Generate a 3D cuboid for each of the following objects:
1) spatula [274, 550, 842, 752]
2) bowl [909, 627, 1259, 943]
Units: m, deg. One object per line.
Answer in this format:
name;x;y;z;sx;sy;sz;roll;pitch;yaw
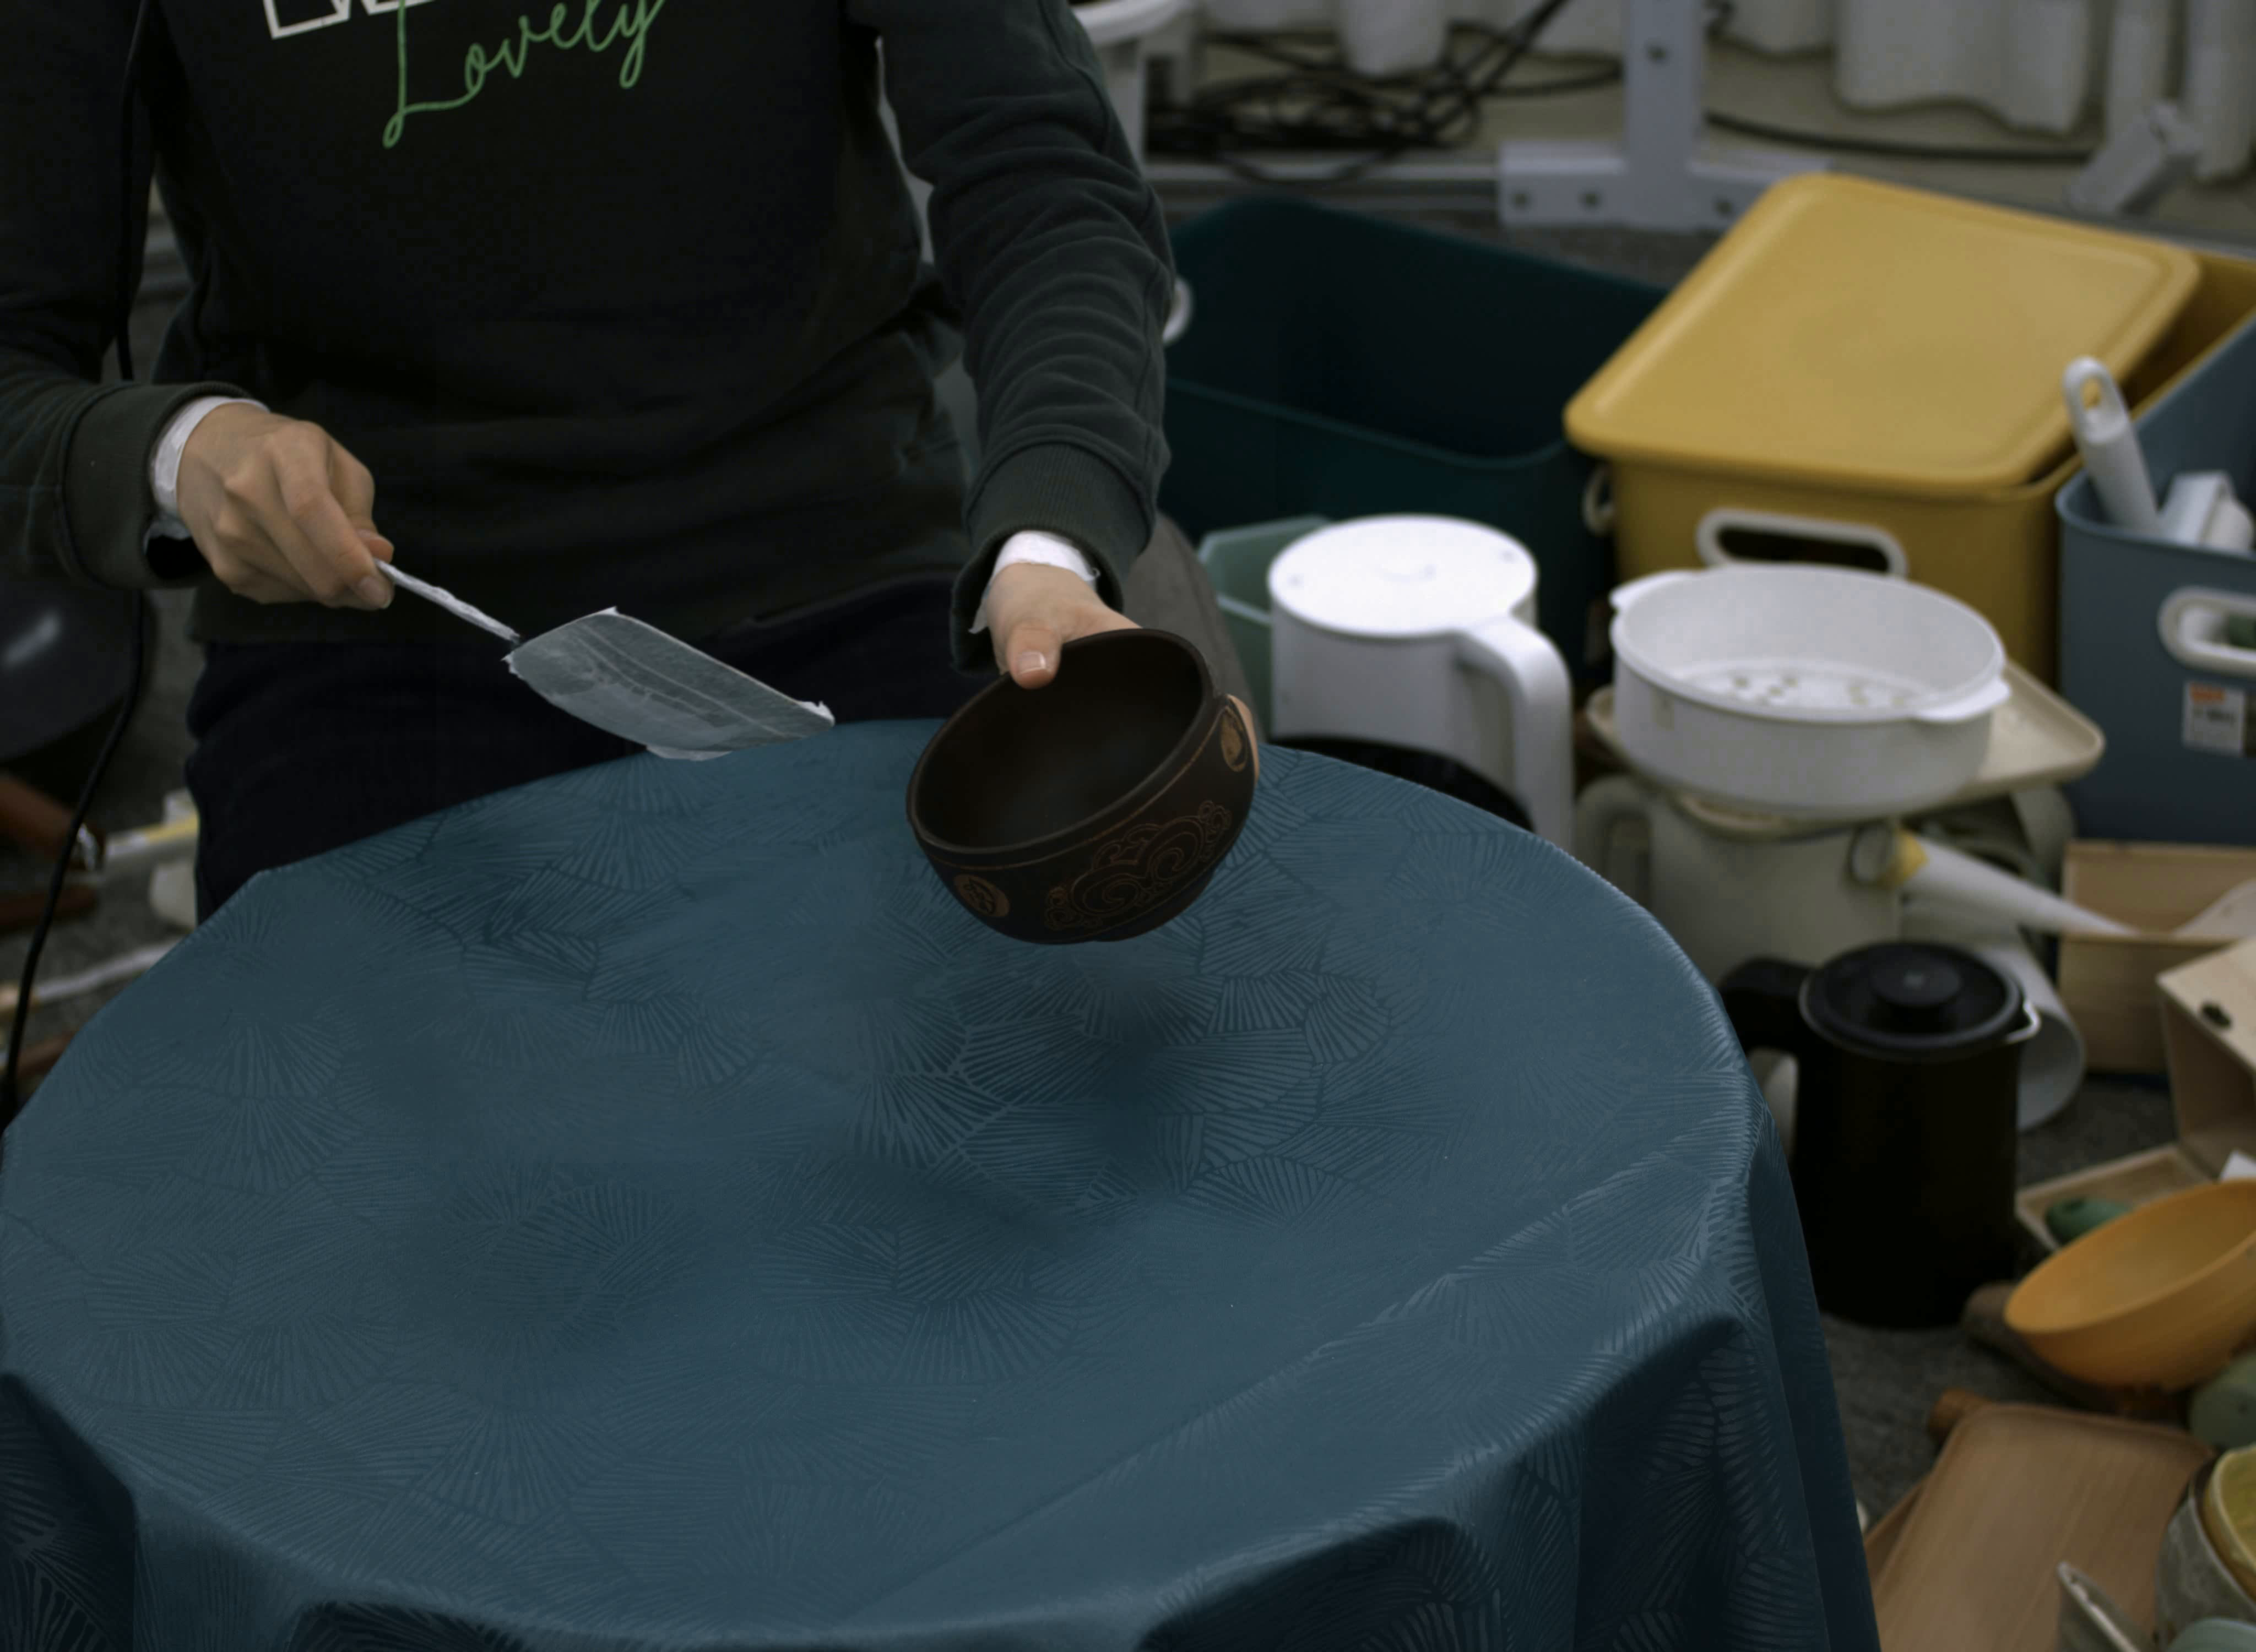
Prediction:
spatula;-0.220;-0.073;1.954;0.098;0.045;0.364;26;-1;-33
bowl;-0.009;-0.005;1.907;0.117;0.069;0.120;-21;30;13
